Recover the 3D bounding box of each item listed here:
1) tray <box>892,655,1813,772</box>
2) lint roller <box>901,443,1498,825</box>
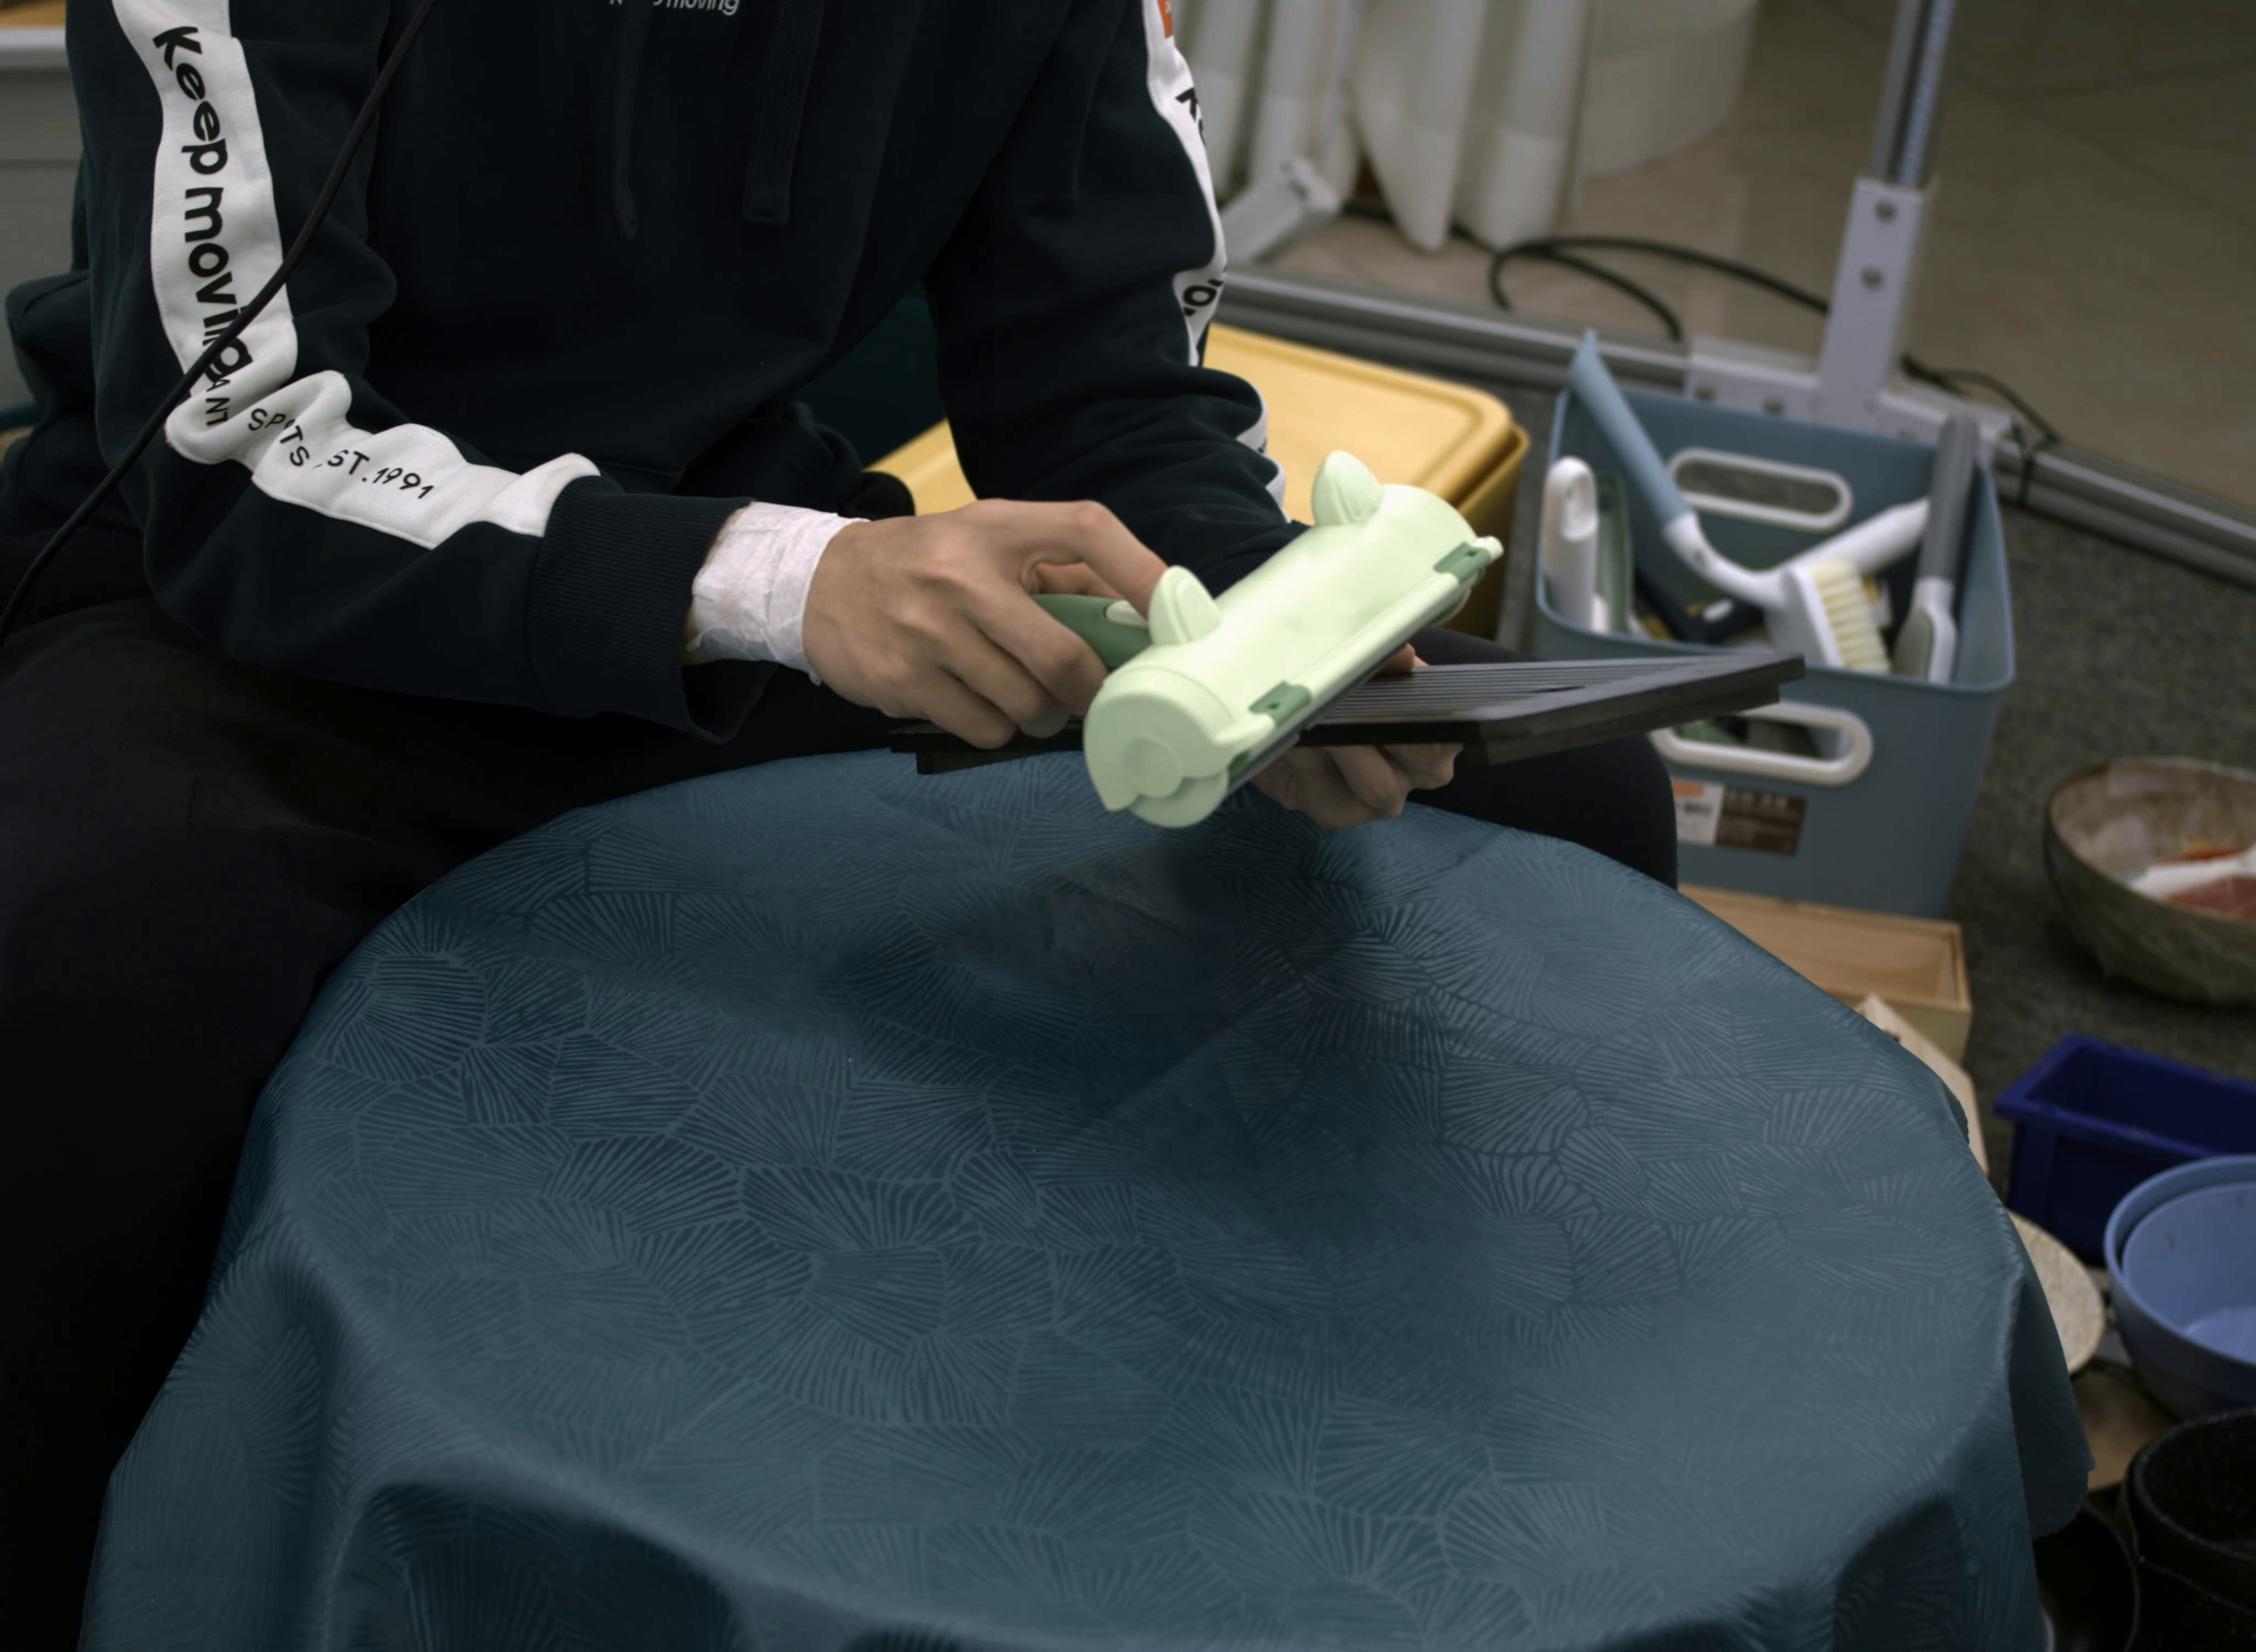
[{"bbox_3d":[0.075,-0.038,1.875,0.169,0.018,0.307,-11,7,-44],"label":"tray"},{"bbox_3d":[0.002,-0.075,1.765,0.184,0.082,0.198,11,28,27],"label":"lint roller"}]
